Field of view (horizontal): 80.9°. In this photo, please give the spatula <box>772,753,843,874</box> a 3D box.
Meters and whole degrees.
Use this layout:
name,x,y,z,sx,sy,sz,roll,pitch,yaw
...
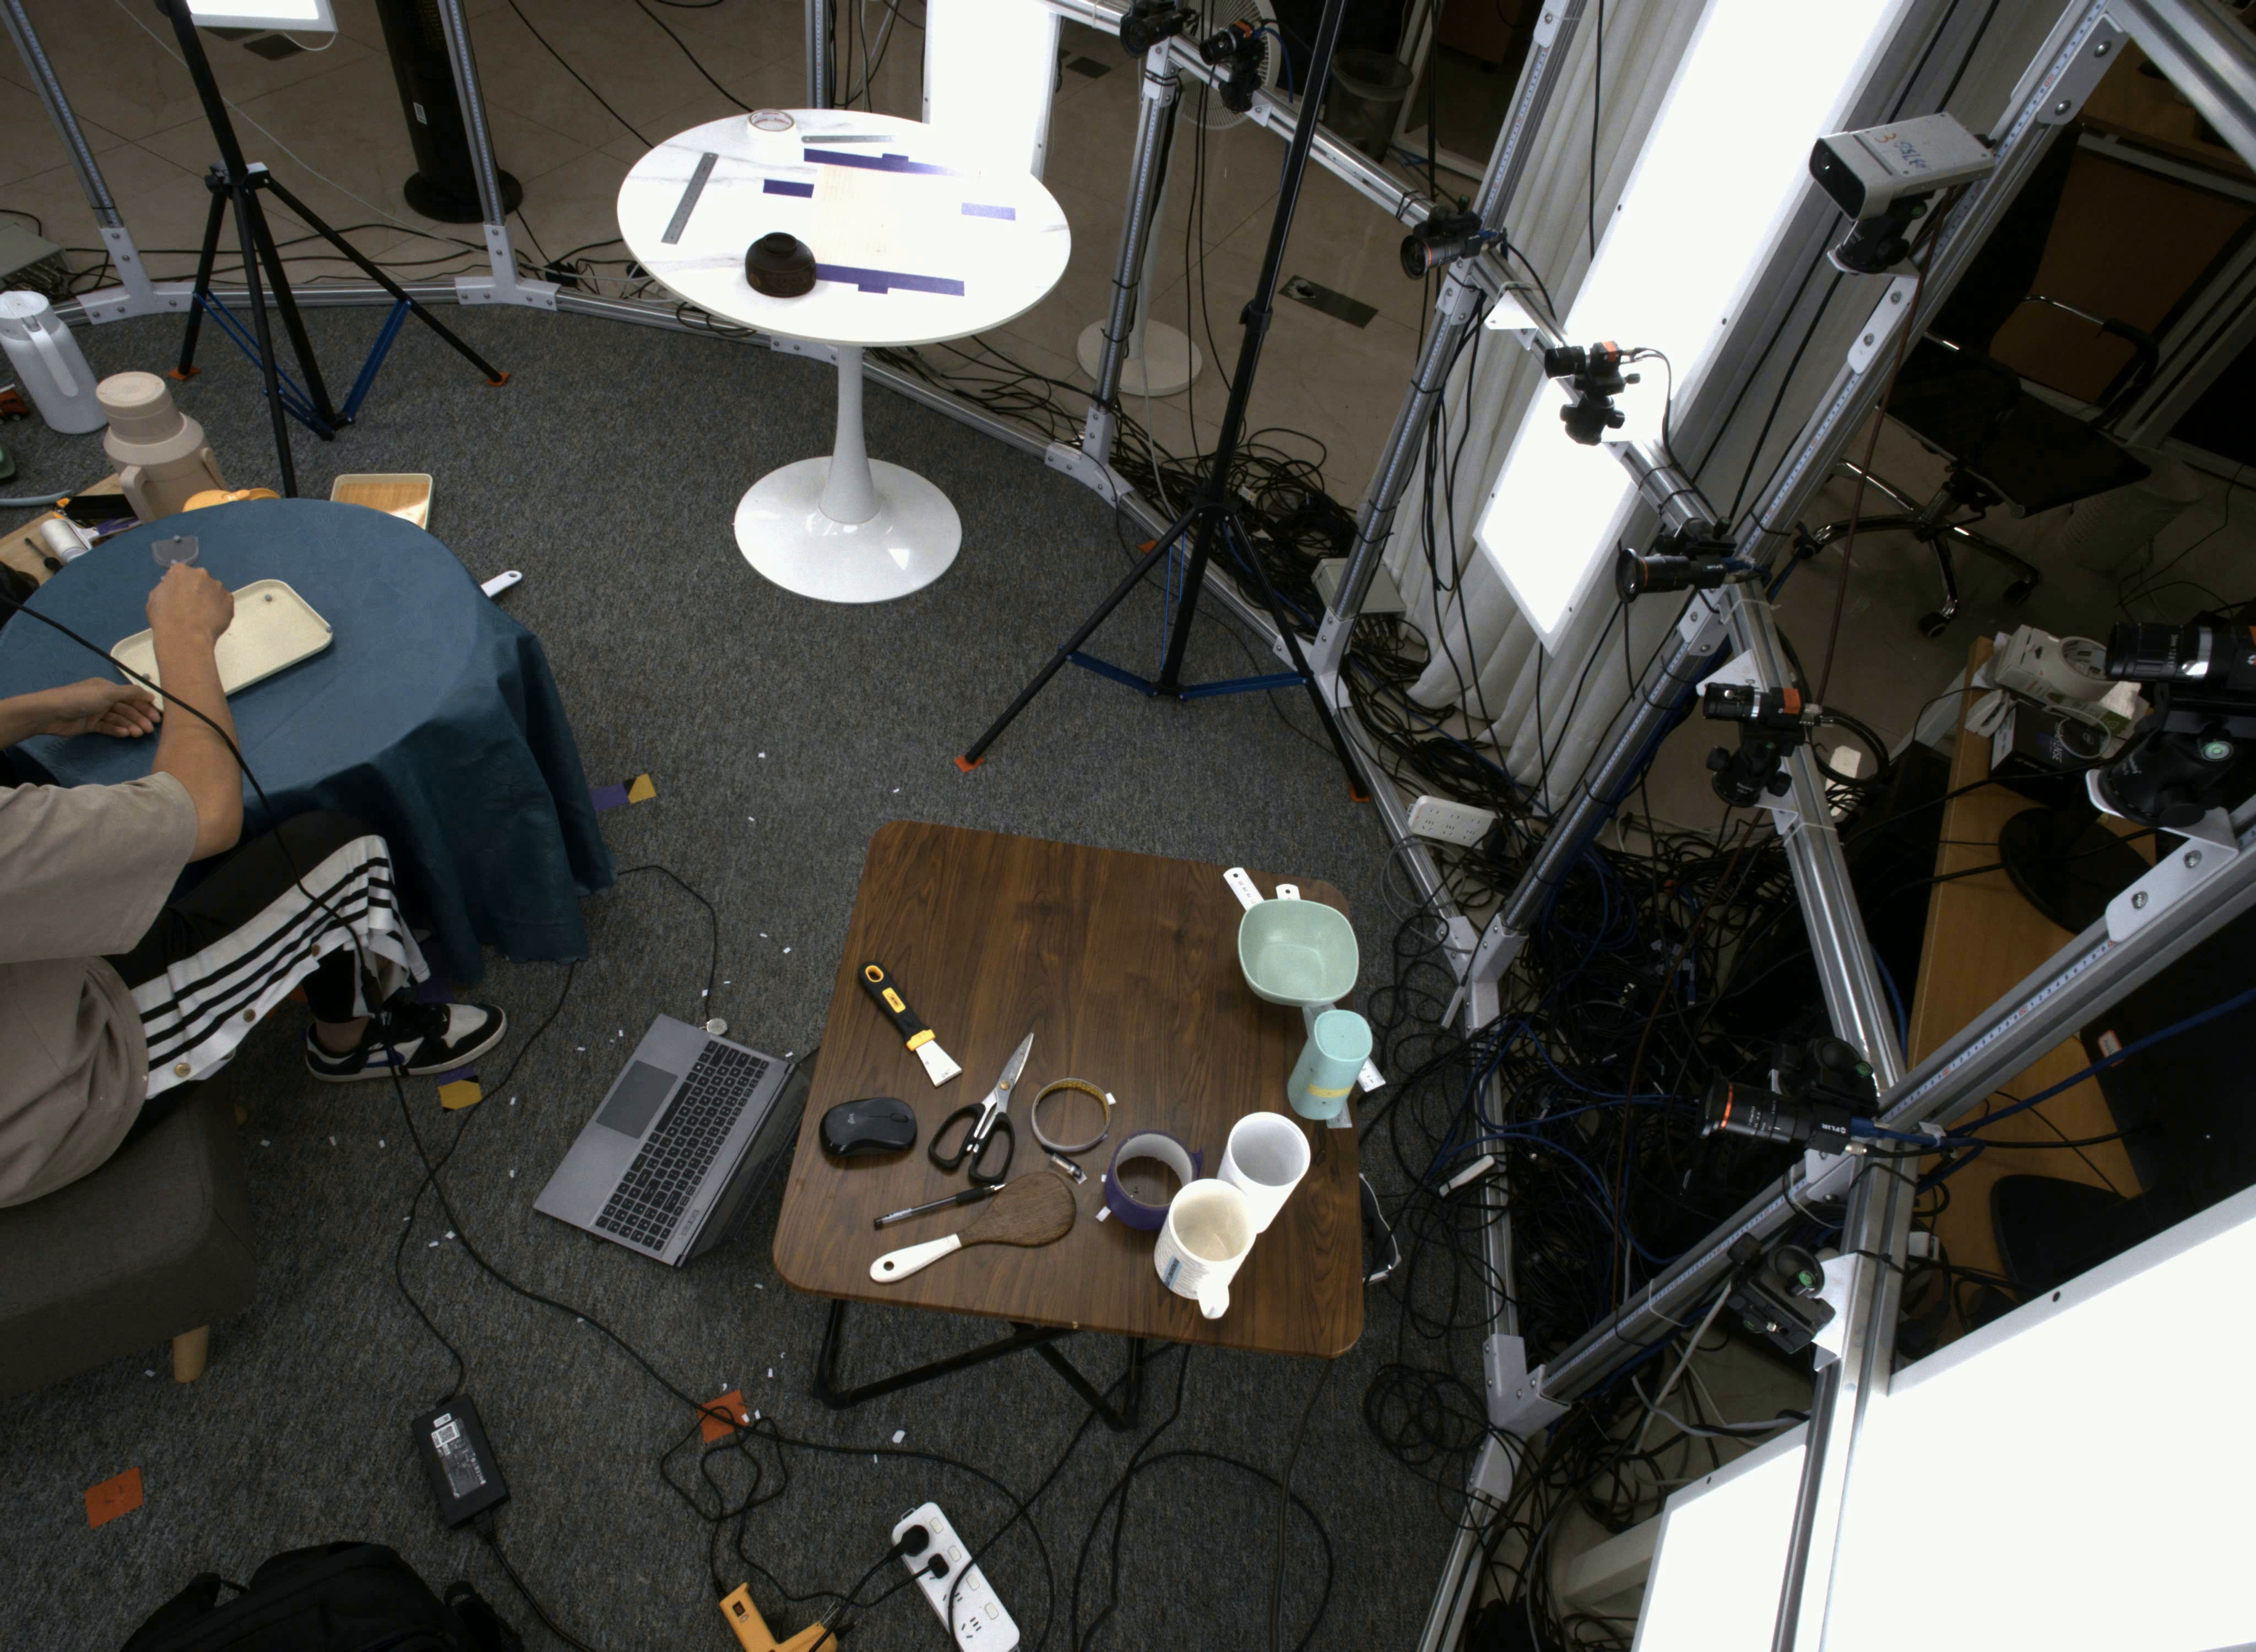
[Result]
name,x,y,z,sx,sy,sz,roll,pitch,yaw
spatula,-0.373,-0.022,1.515,0.059,0.033,0.278,-10,29,-18

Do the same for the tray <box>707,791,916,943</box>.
name,x,y,z,sx,sy,sz,roll,pitch,yaw
tray,-0.411,0.050,1.689,0.240,0.018,0.167,-25,62,-28
